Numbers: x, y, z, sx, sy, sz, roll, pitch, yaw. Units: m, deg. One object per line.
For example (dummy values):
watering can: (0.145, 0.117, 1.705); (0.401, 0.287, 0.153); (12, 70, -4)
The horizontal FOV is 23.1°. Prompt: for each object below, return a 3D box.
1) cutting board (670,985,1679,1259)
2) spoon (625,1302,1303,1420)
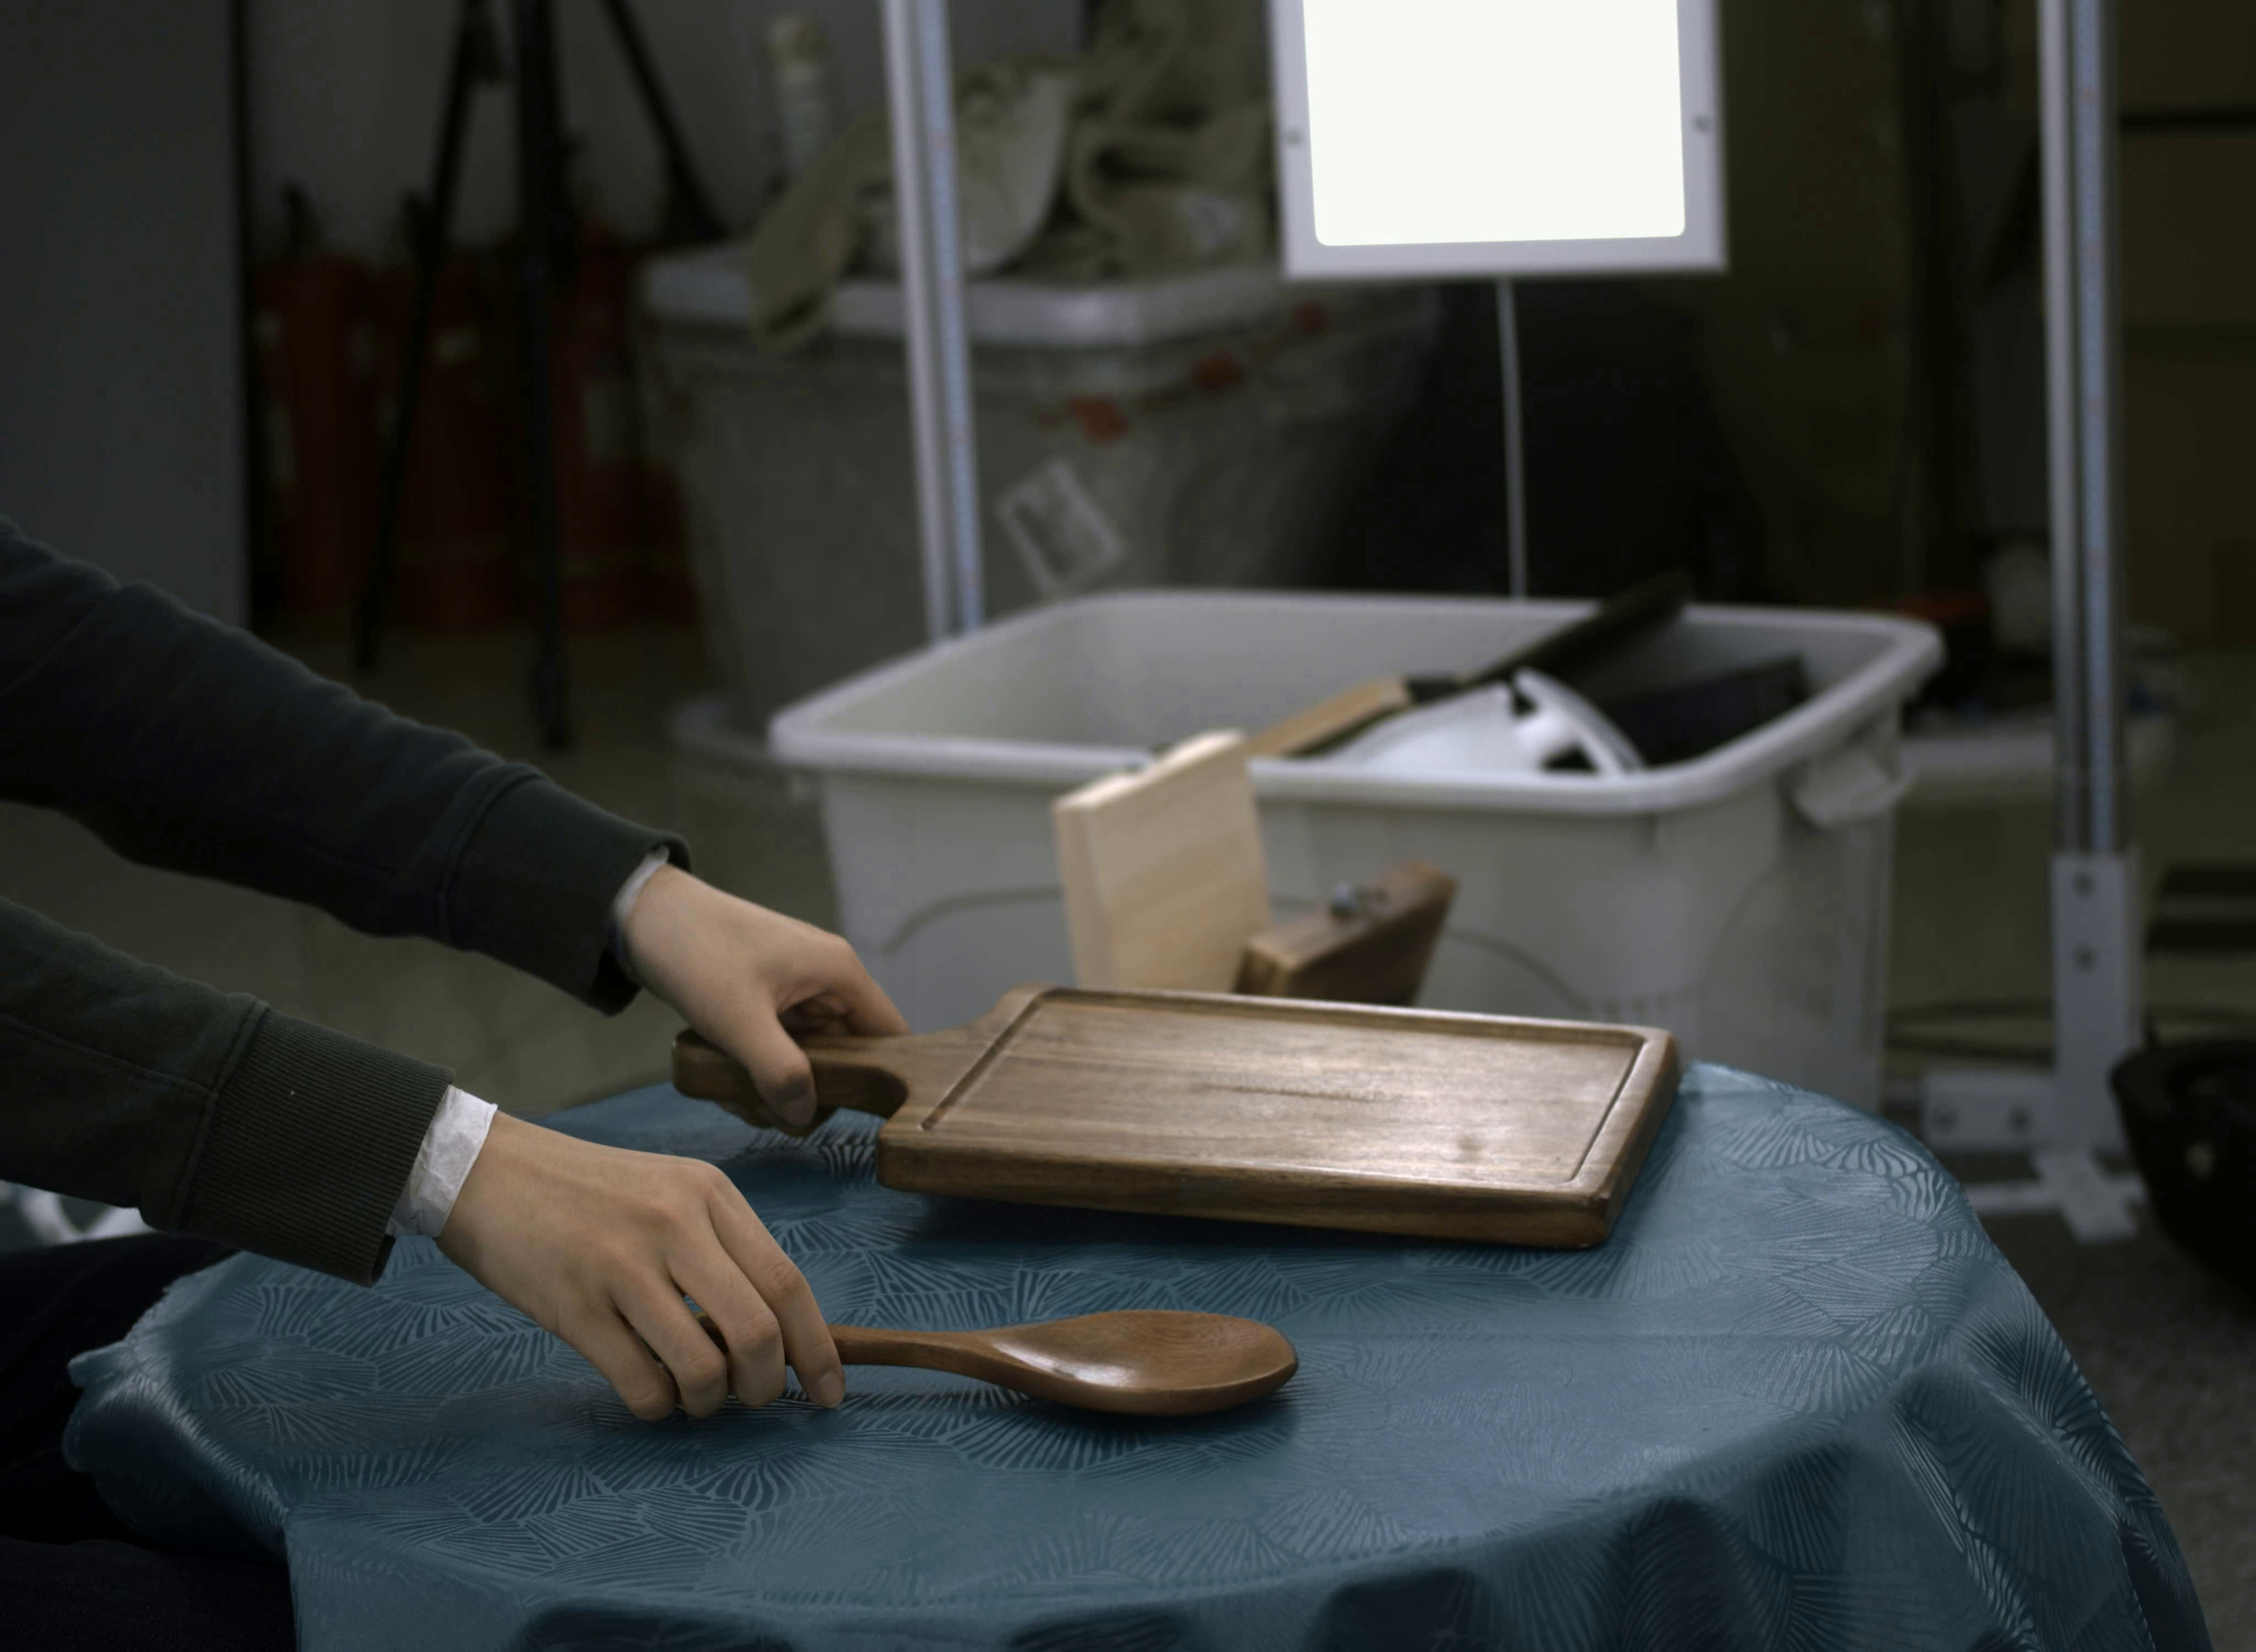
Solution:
cutting board: (0.009, 0.097, 1.925); (0.355, 0.023, 0.198); (3, 17, 15)
spoon: (-0.052, 0.164, 1.709); (0.218, 0.017, 0.074); (3, 17, 15)
